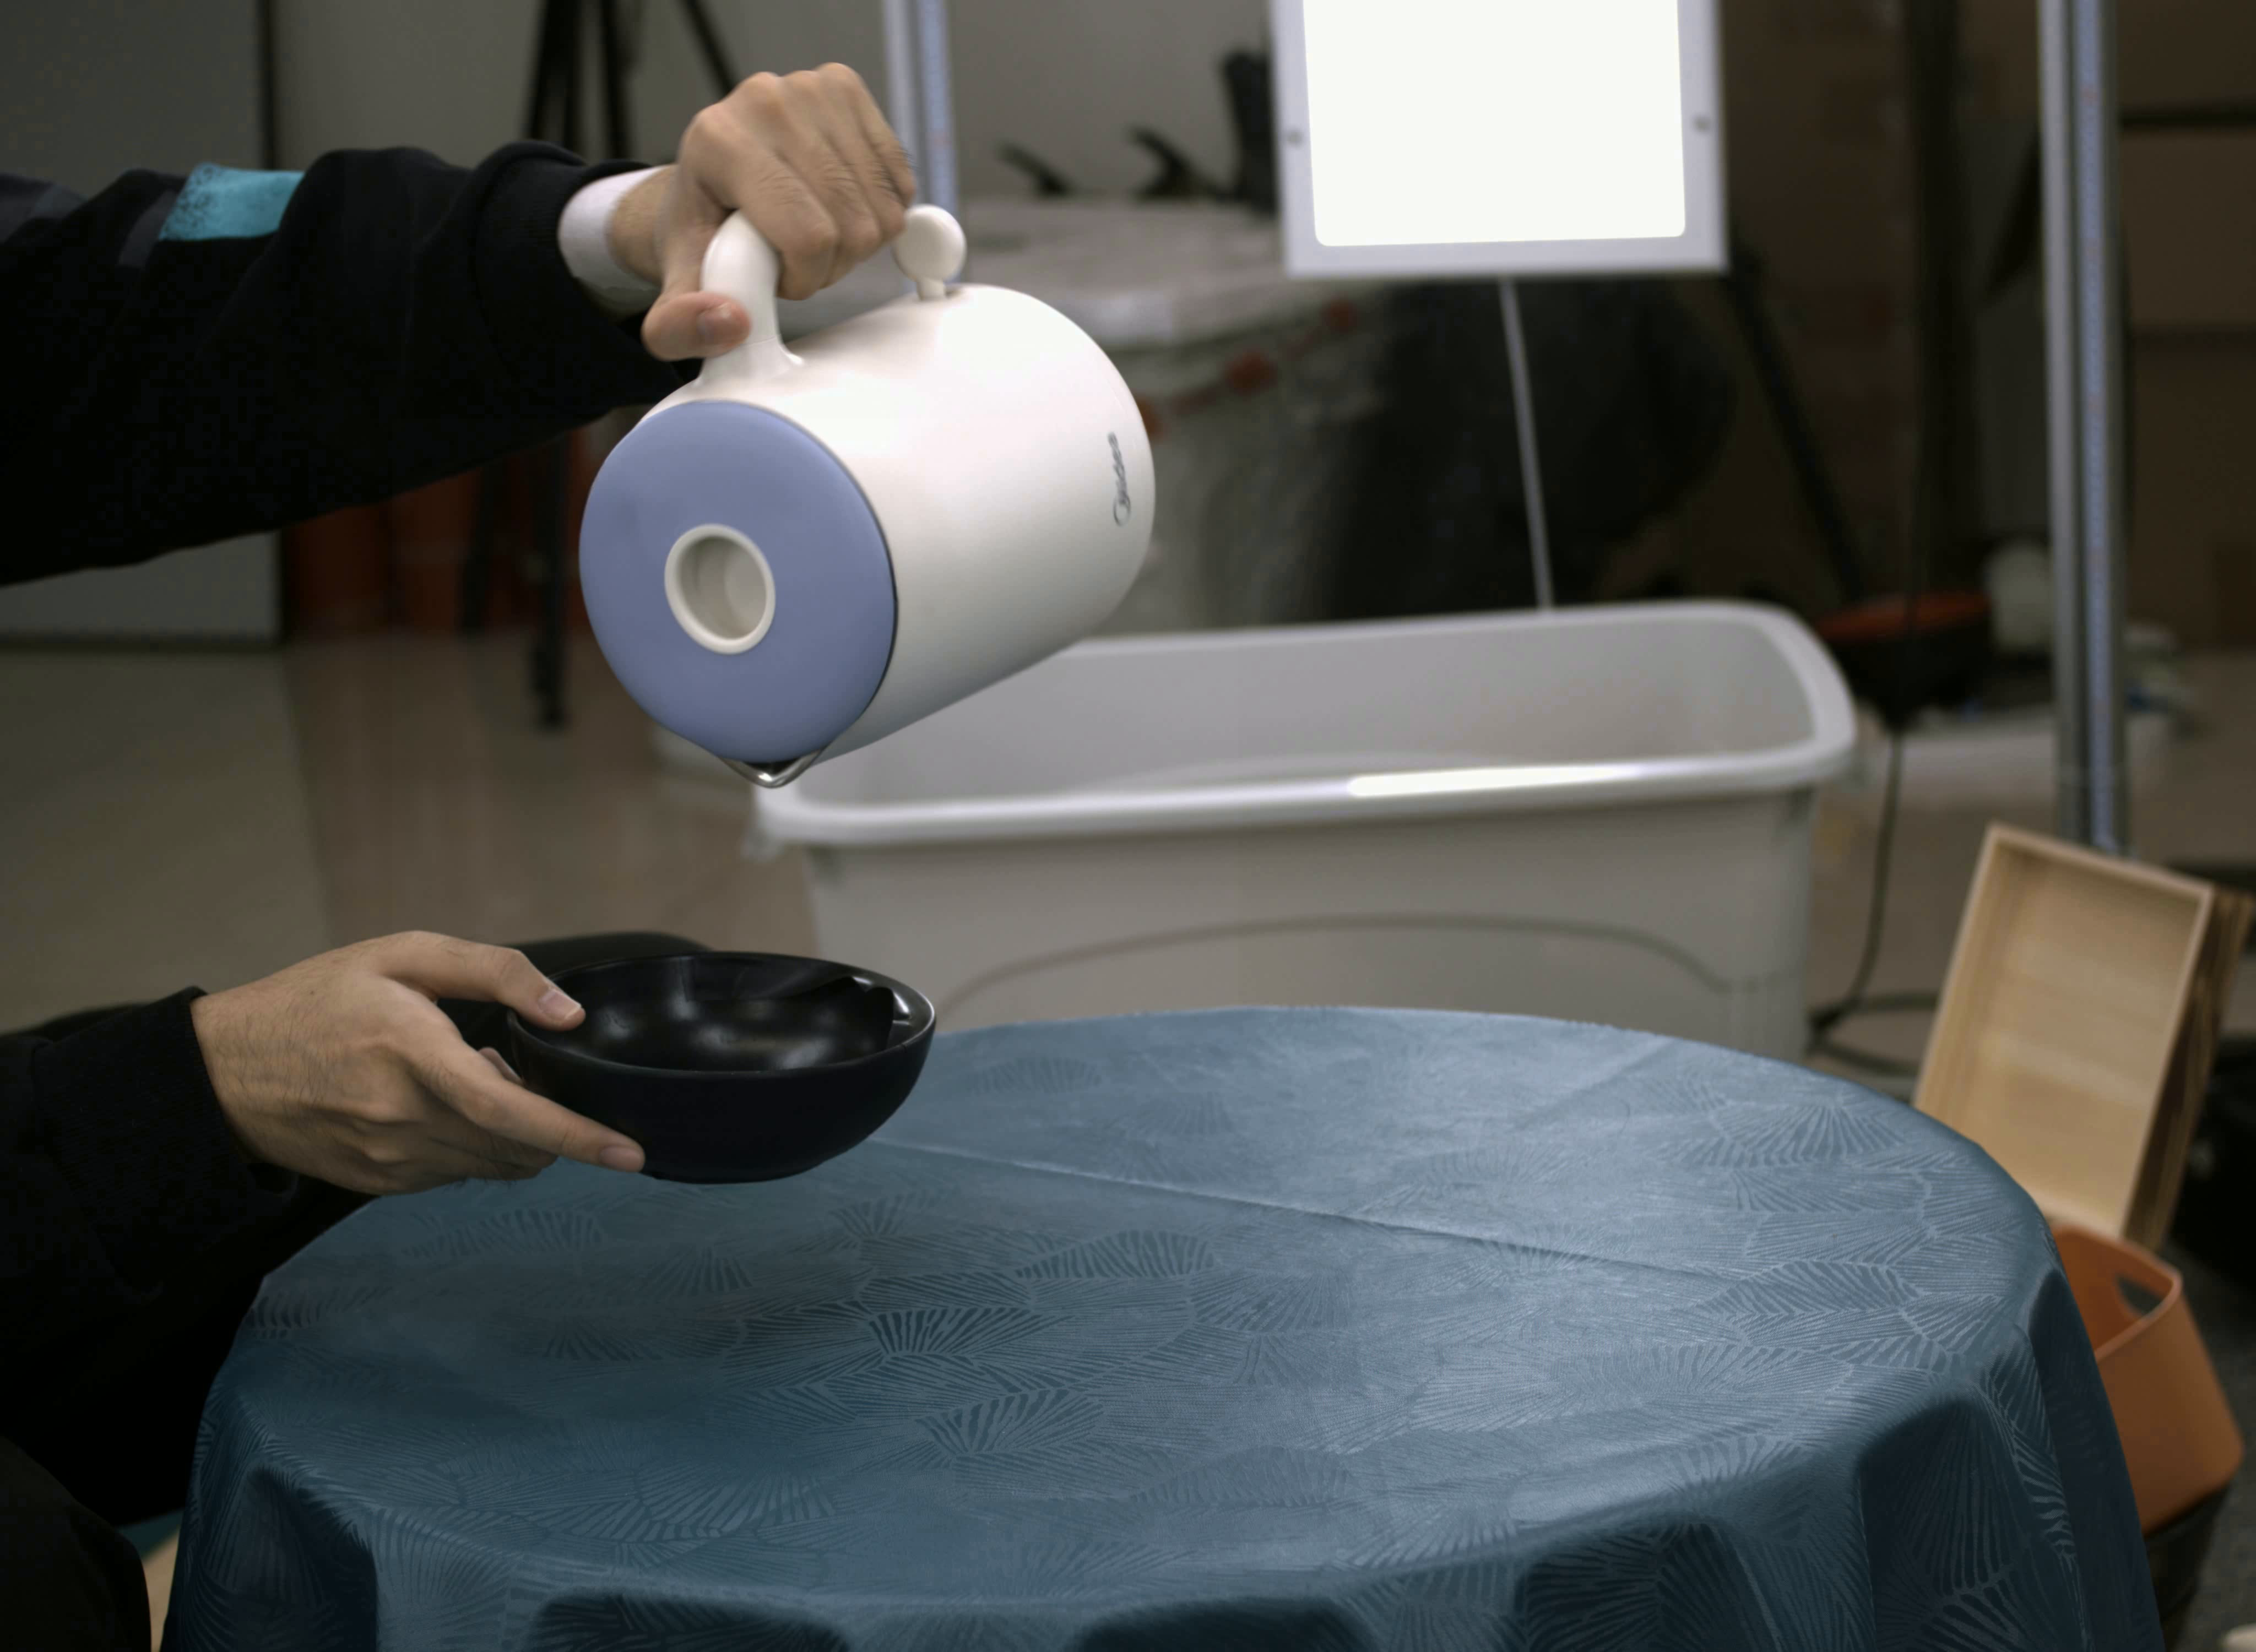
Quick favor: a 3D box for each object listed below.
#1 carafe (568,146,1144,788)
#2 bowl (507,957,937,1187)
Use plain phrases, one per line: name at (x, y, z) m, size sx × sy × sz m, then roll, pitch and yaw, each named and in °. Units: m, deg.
carafe at (-0.092, -0.125, 1.805) m, size 0.135 × 0.191 × 0.178 m, roll -3°, pitch 14°, yaw 32°
bowl at (-0.131, 0.083, 1.783) m, size 0.139 × 0.050 × 0.140 m, roll -1°, pitch 13°, yaw -1°
